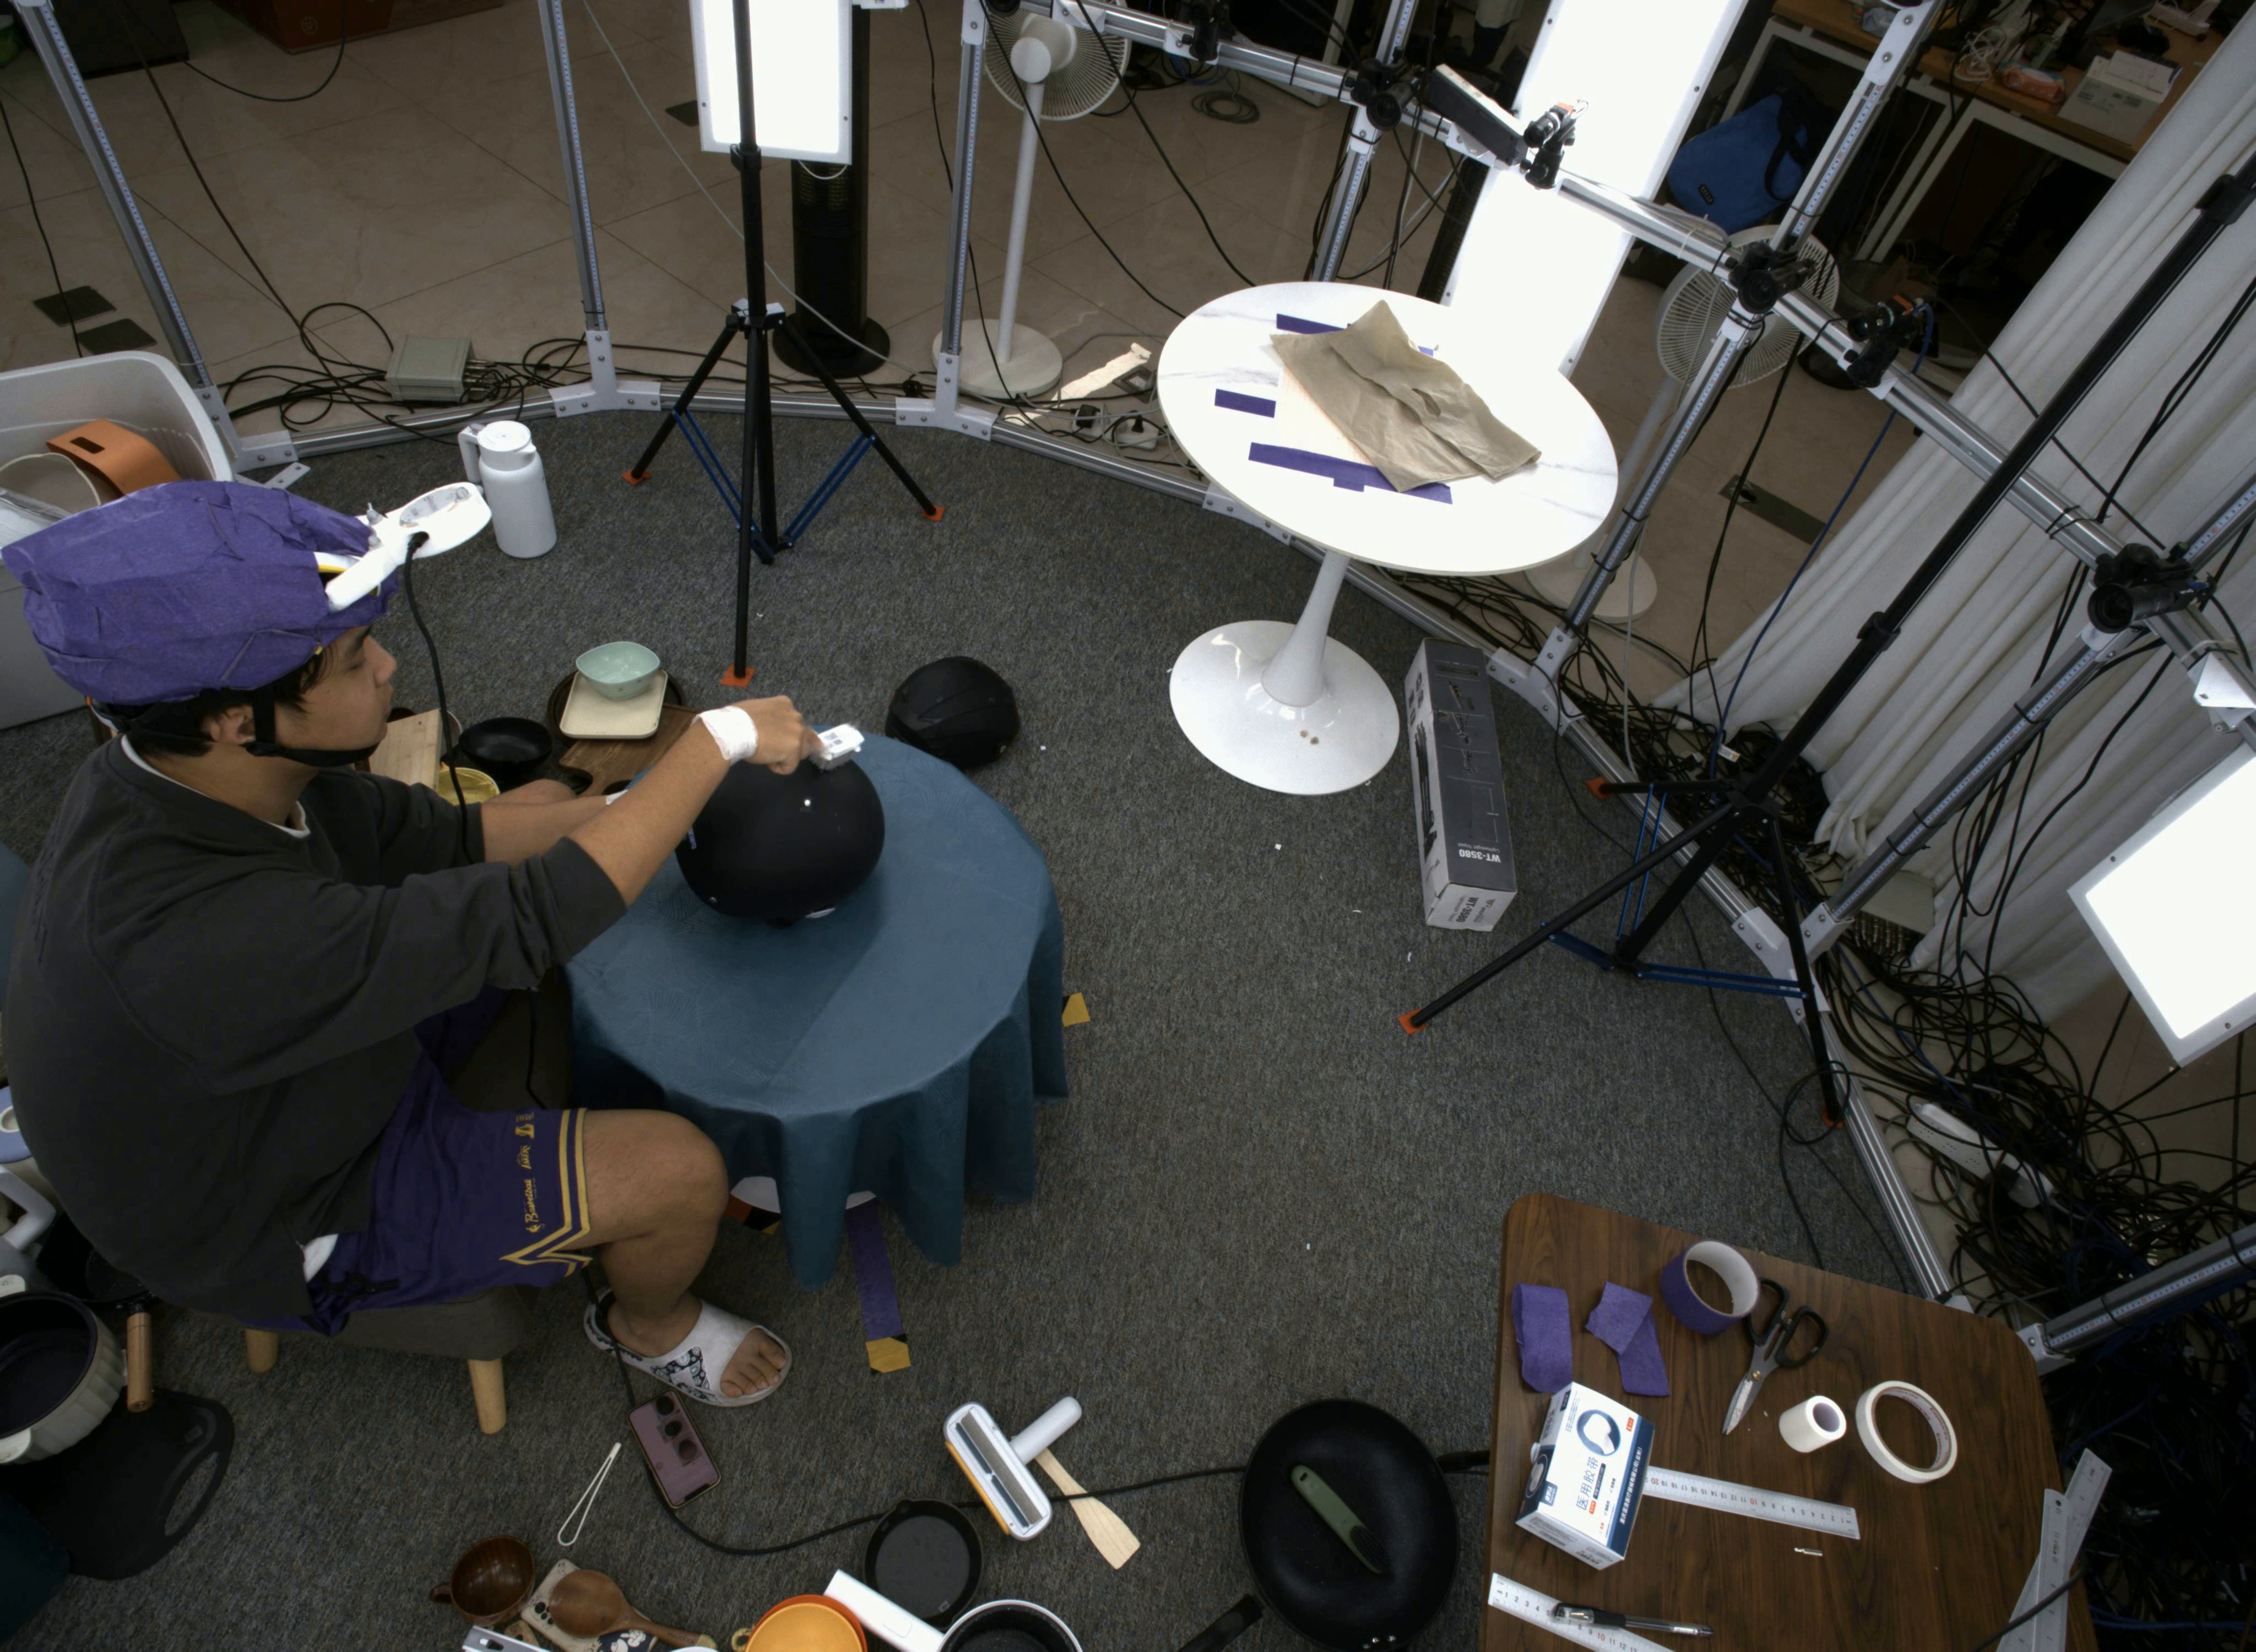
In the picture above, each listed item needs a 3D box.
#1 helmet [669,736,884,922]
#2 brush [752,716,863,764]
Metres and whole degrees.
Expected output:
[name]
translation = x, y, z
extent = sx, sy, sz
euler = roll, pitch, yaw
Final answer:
[helmet]
translation = -0.409, -0.006, 1.575
extent = 0.278, 0.163, 0.230
euler = 1, 78, -39
[brush]
translation = -0.370, -0.093, 1.470
extent = 0.034, 0.050, 0.244
euler = 41, 14, 6
